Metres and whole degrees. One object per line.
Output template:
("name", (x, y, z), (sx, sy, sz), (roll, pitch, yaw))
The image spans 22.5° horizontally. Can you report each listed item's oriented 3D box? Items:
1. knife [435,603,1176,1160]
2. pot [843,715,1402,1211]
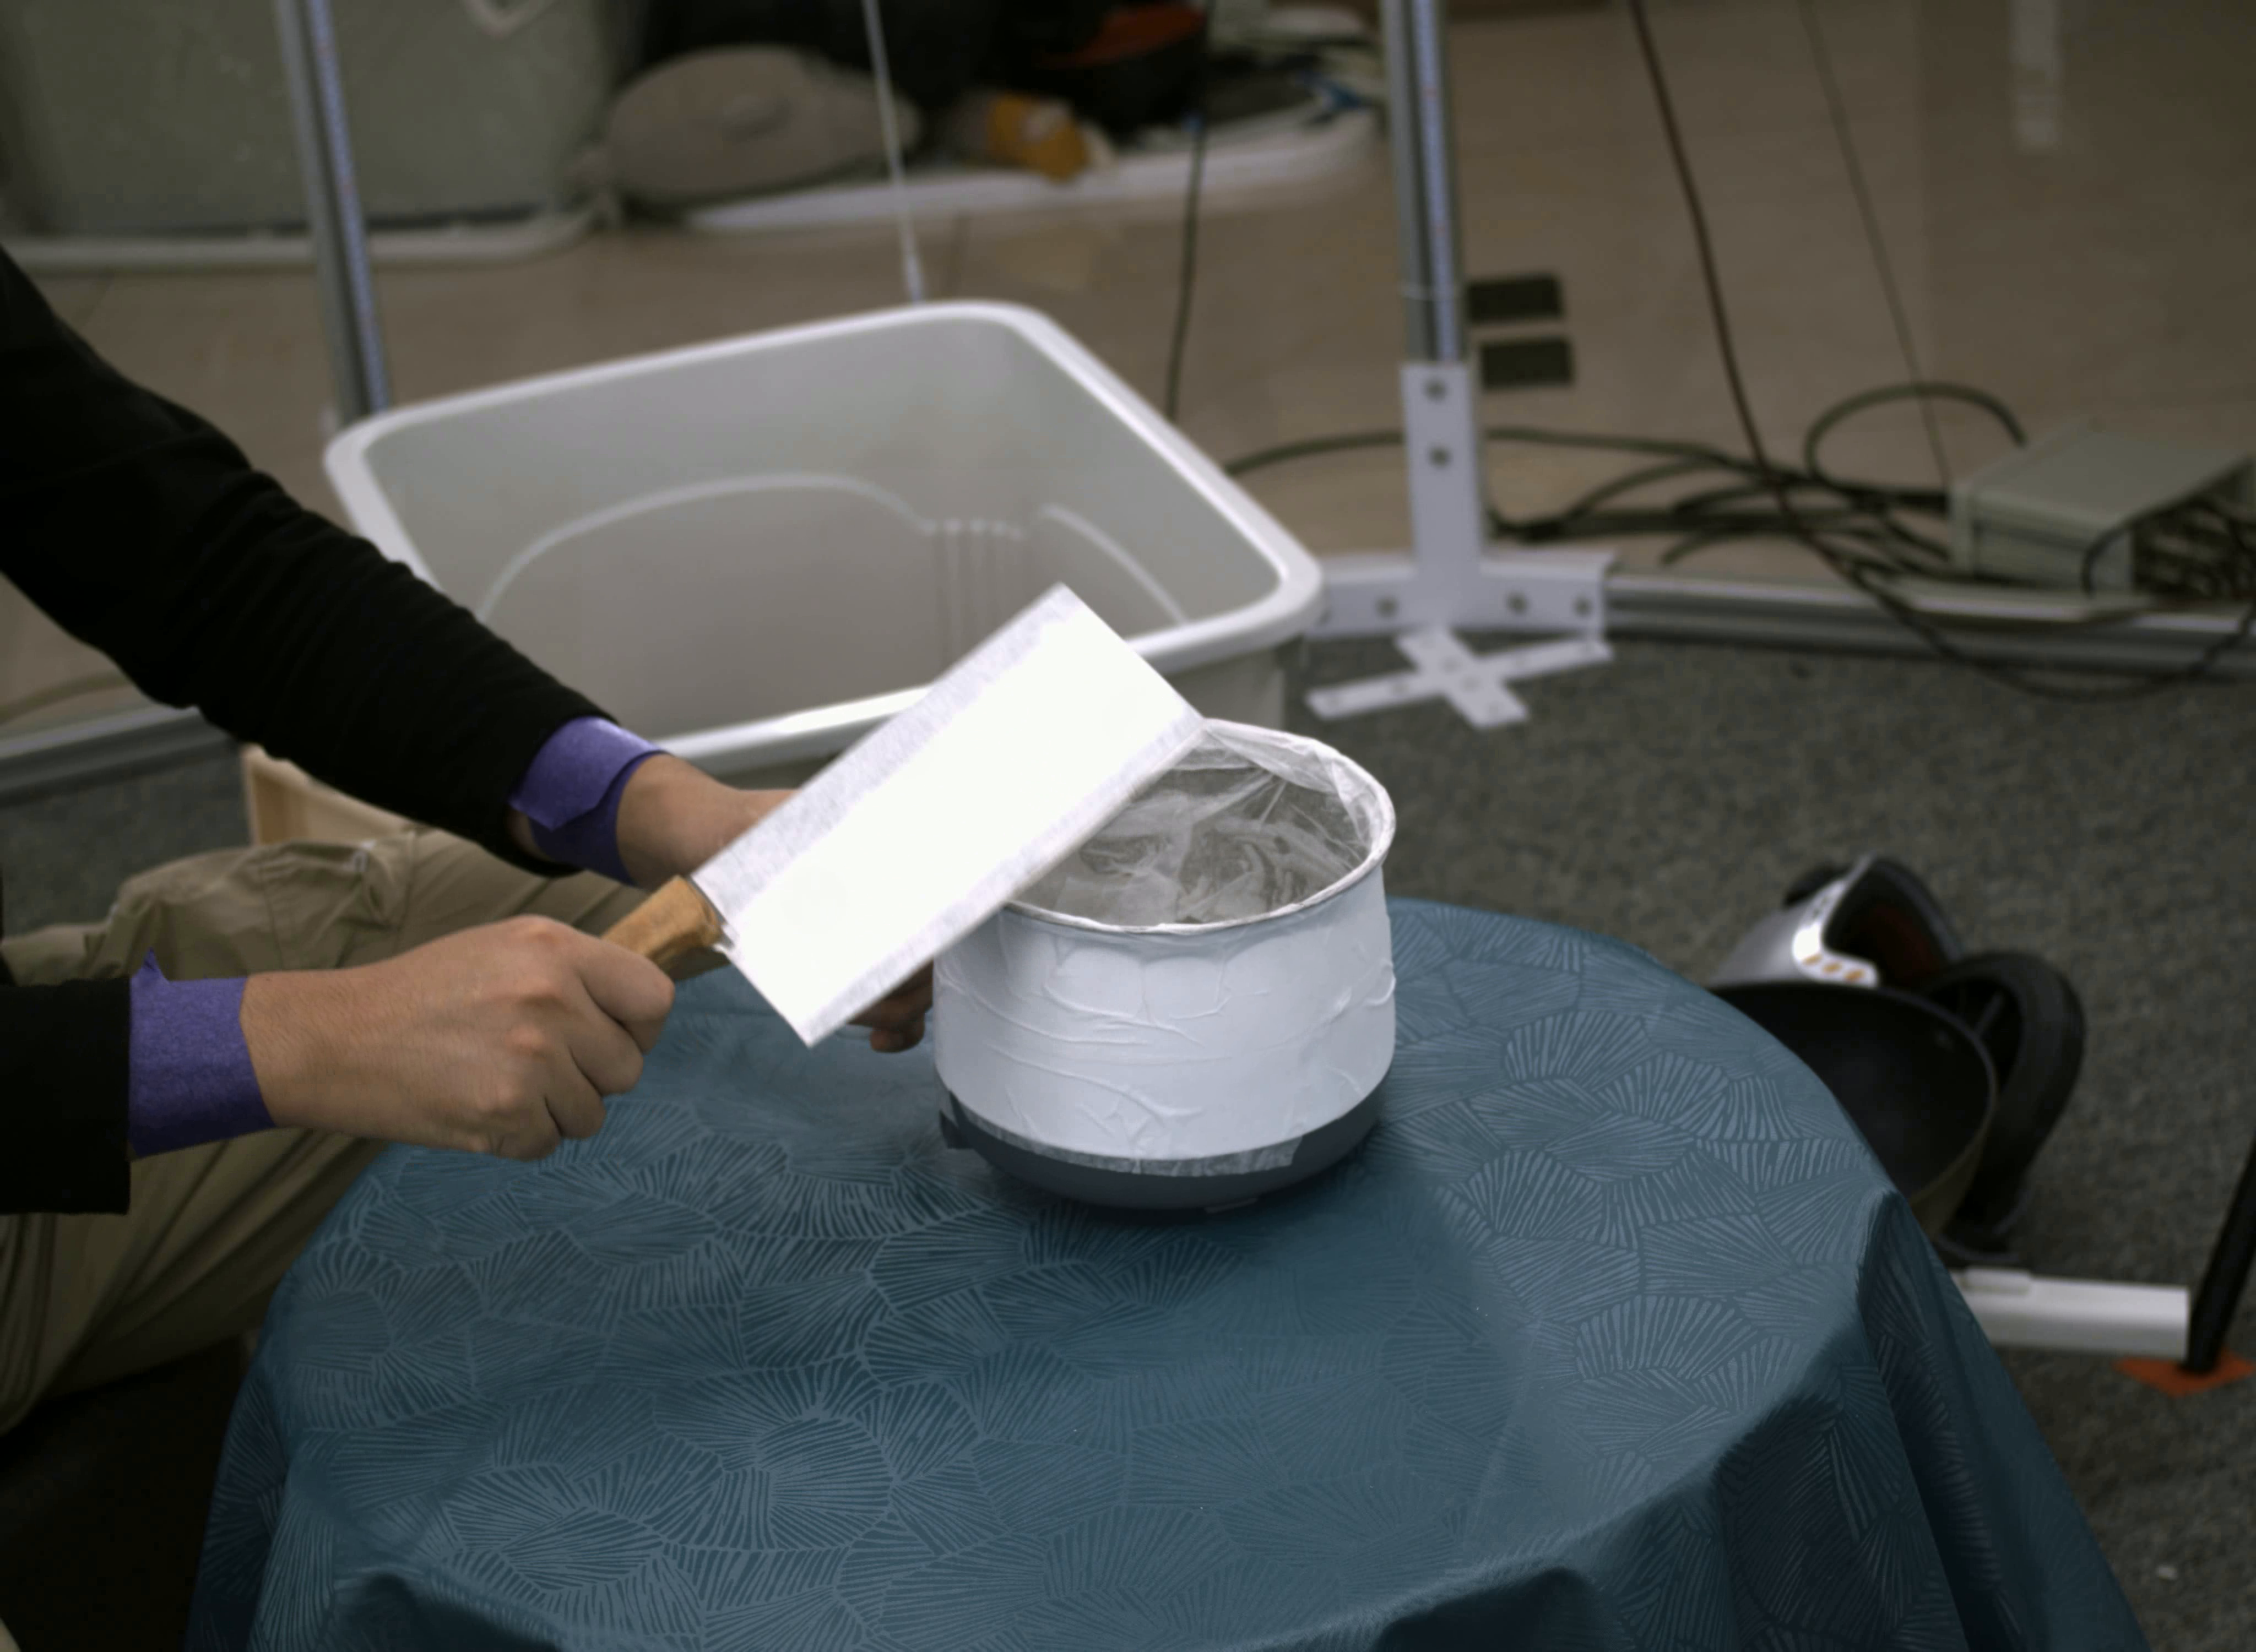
("knife", (-0.112, 0.032, 2.061), (0.304, 0.021, 0.092), (-38, 58, -8))
("pot", (-0.012, 0.049, 2.161), (0.233, 0.139, 0.176), (11, 29, 20))
